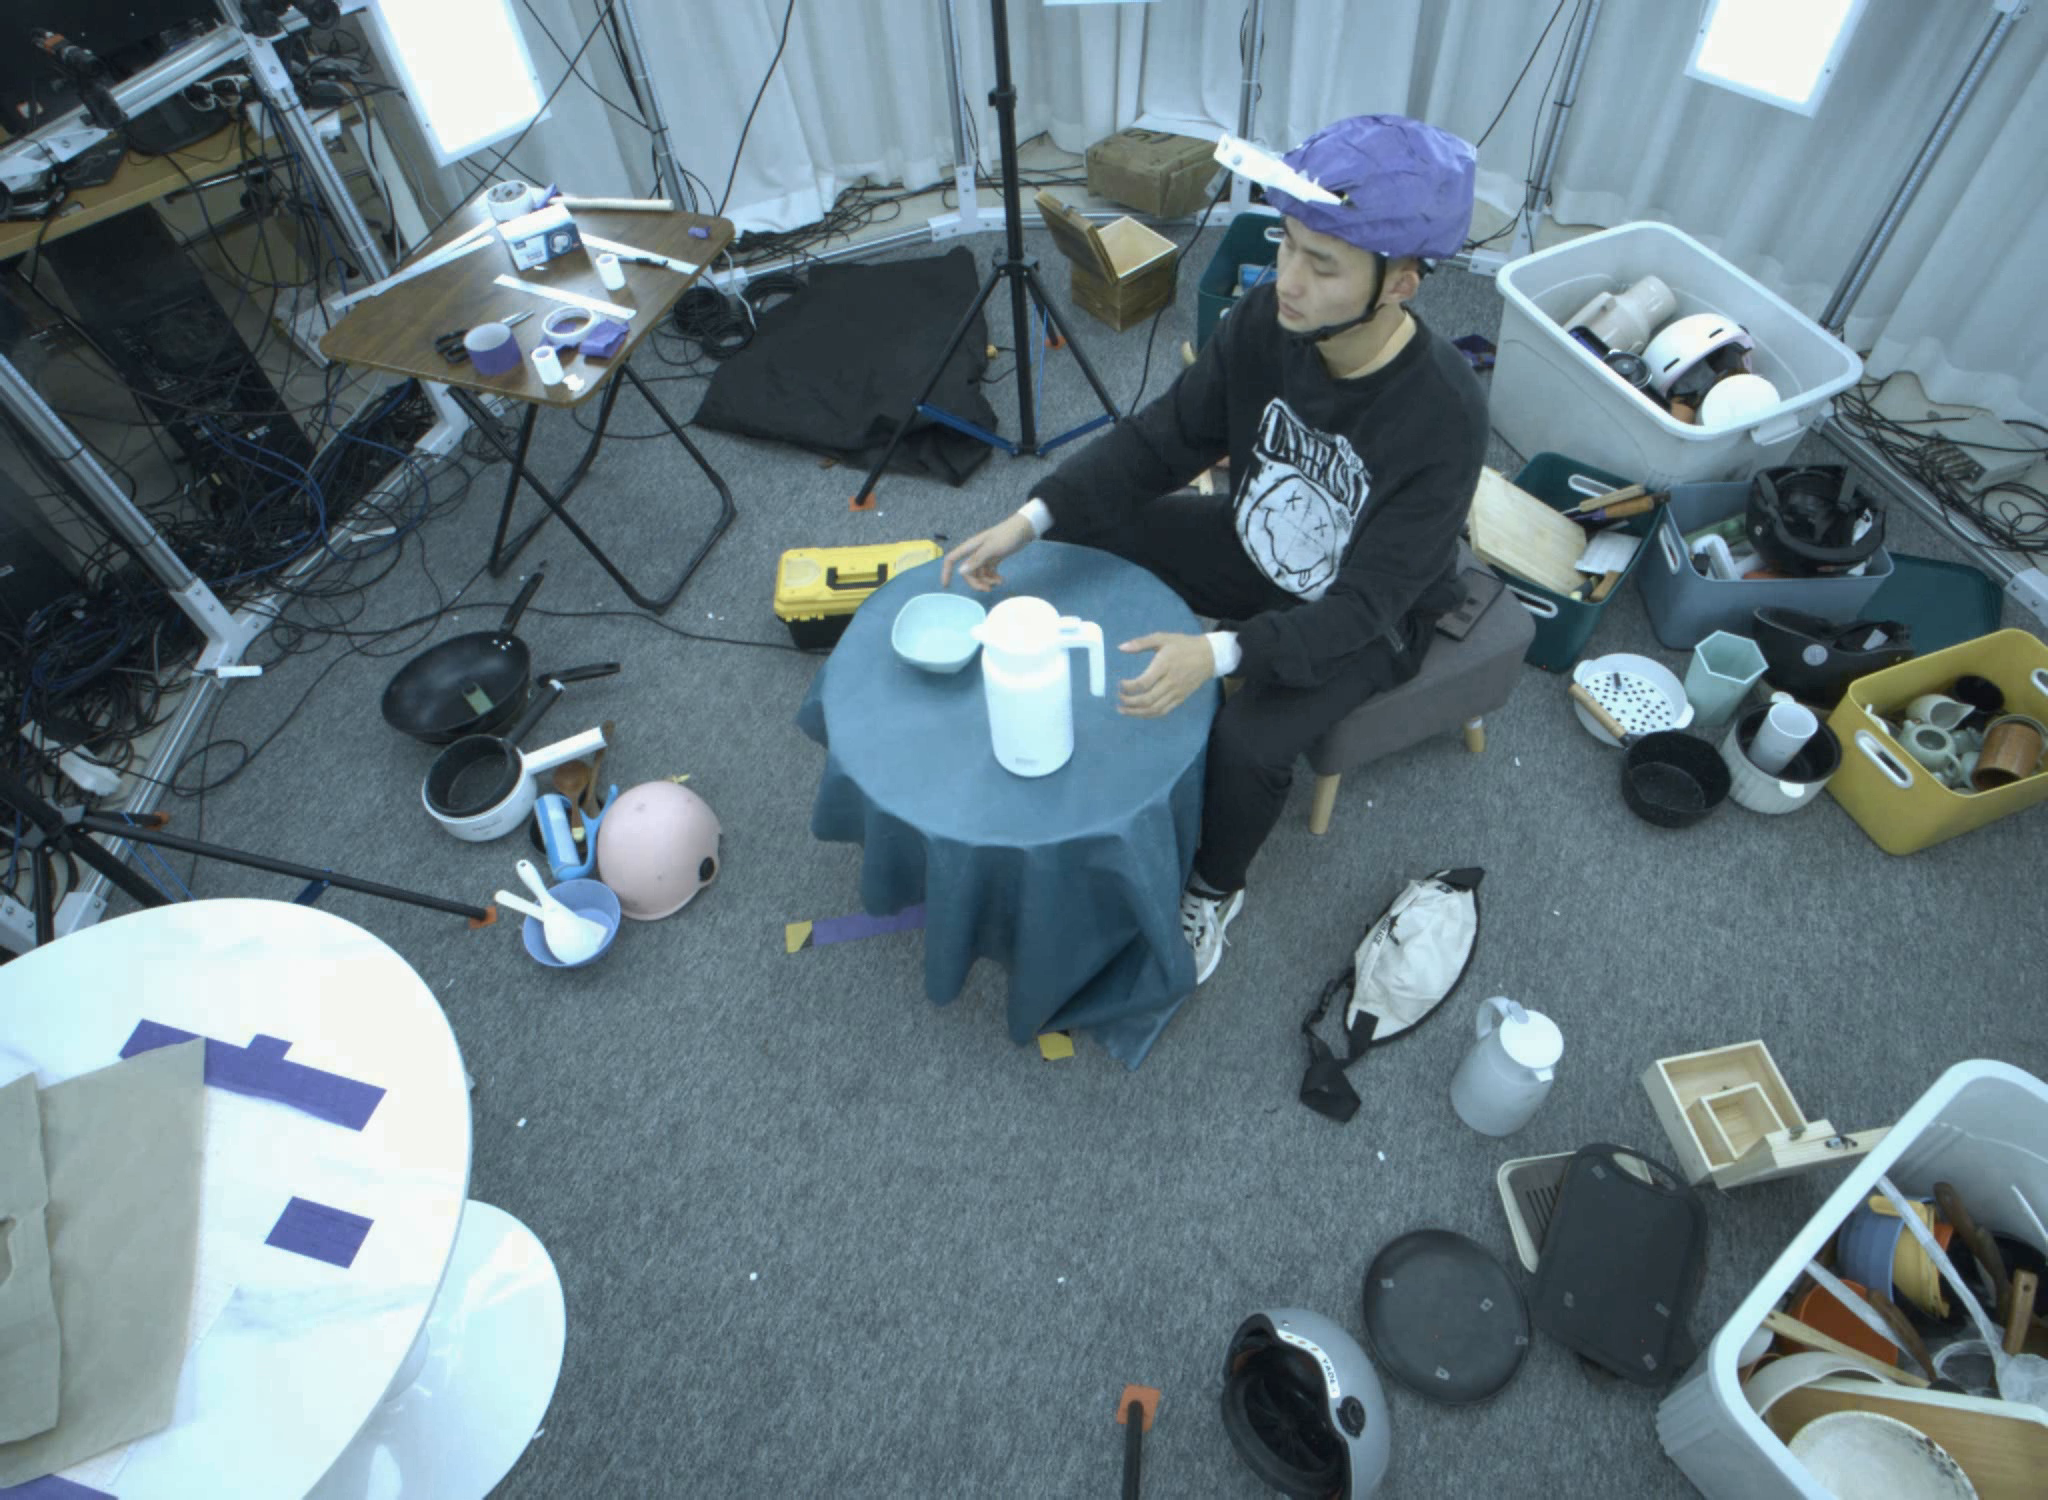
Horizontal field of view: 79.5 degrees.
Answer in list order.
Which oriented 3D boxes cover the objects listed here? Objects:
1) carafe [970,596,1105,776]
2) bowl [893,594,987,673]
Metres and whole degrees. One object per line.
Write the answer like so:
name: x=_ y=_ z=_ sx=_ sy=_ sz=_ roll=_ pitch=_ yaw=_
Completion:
carafe: x=0.023 y=-0.085 z=1.679 sx=0.173 sy=0.272 sz=0.122 roll=-5 pitch=52 yaw=0
bowl: x=-0.126 y=-0.169 z=1.875 sx=0.151 sy=0.059 sz=0.150 roll=0 pitch=55 yaw=2
